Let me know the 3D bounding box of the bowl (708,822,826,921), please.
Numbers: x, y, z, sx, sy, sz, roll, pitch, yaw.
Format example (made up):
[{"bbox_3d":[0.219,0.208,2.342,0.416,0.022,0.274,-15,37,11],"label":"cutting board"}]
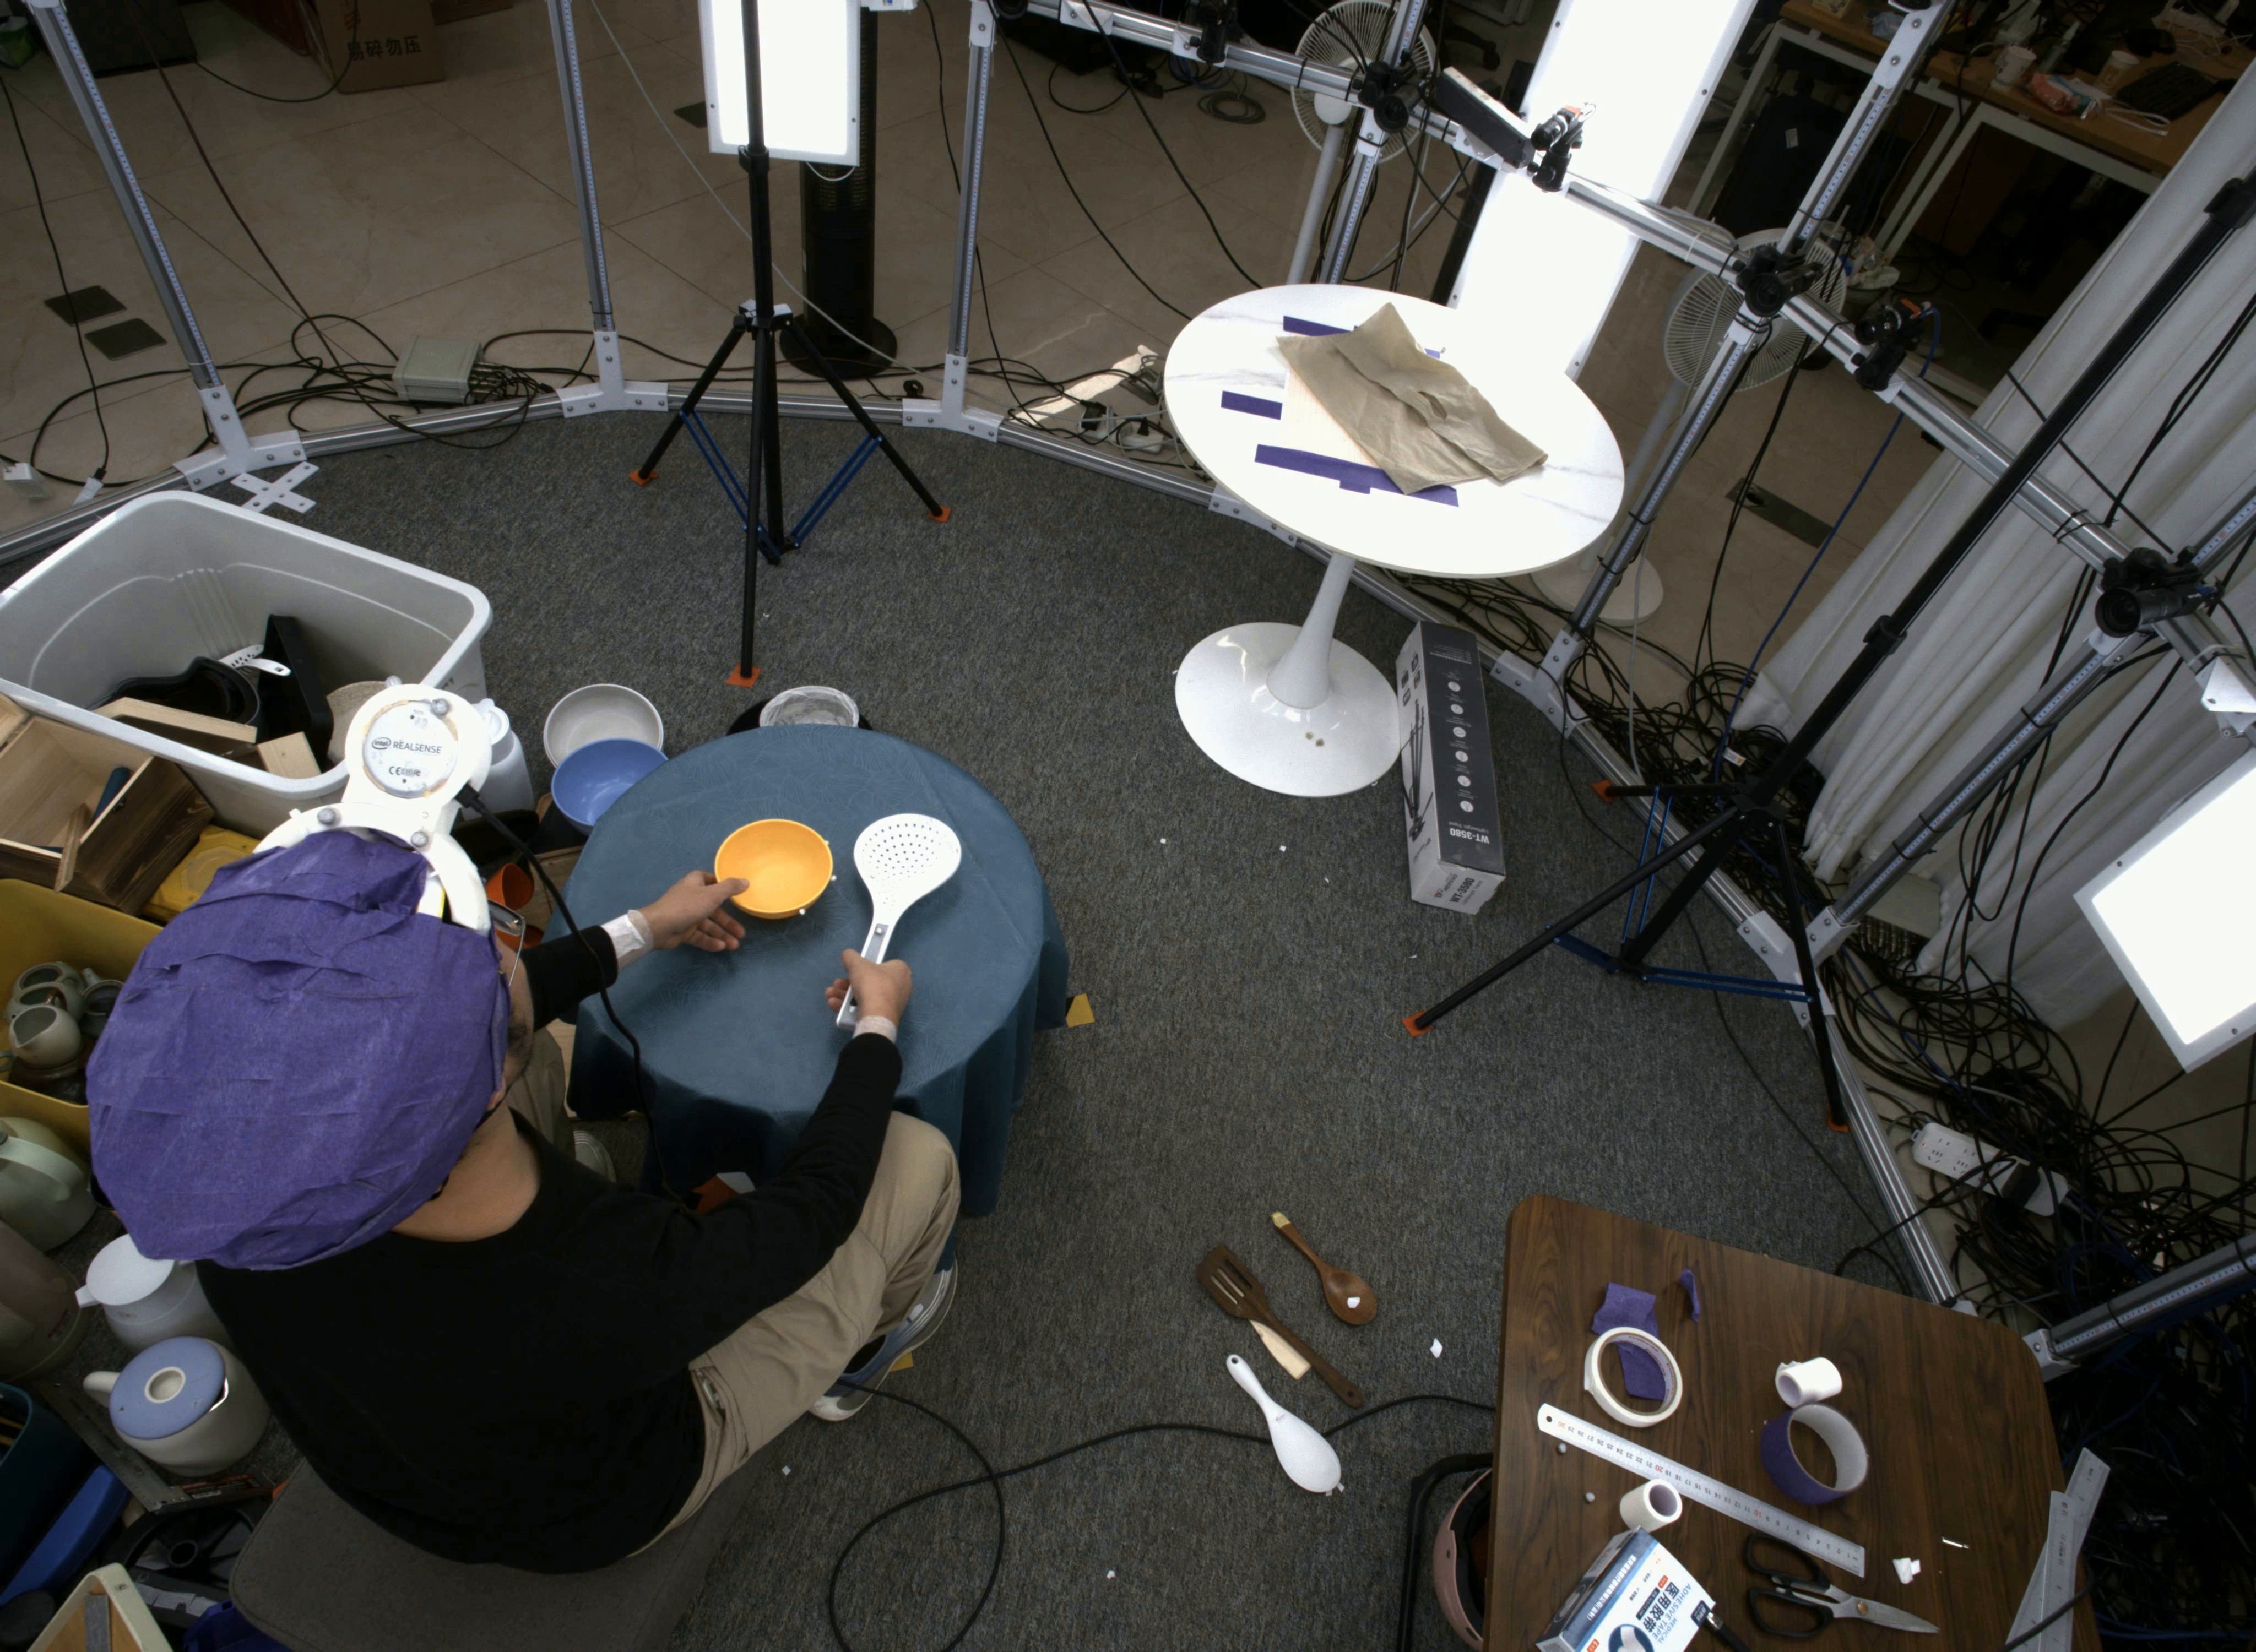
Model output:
[{"bbox_3d":[-0.451,0.067,1.625,0.145,0.061,0.142,7,51,-7],"label":"bowl"}]

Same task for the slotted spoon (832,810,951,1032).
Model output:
[{"bbox_3d":[-0.307,0.108,1.612,0.134,0.047,0.343,6,42,3],"label":"slotted spoon"}]
